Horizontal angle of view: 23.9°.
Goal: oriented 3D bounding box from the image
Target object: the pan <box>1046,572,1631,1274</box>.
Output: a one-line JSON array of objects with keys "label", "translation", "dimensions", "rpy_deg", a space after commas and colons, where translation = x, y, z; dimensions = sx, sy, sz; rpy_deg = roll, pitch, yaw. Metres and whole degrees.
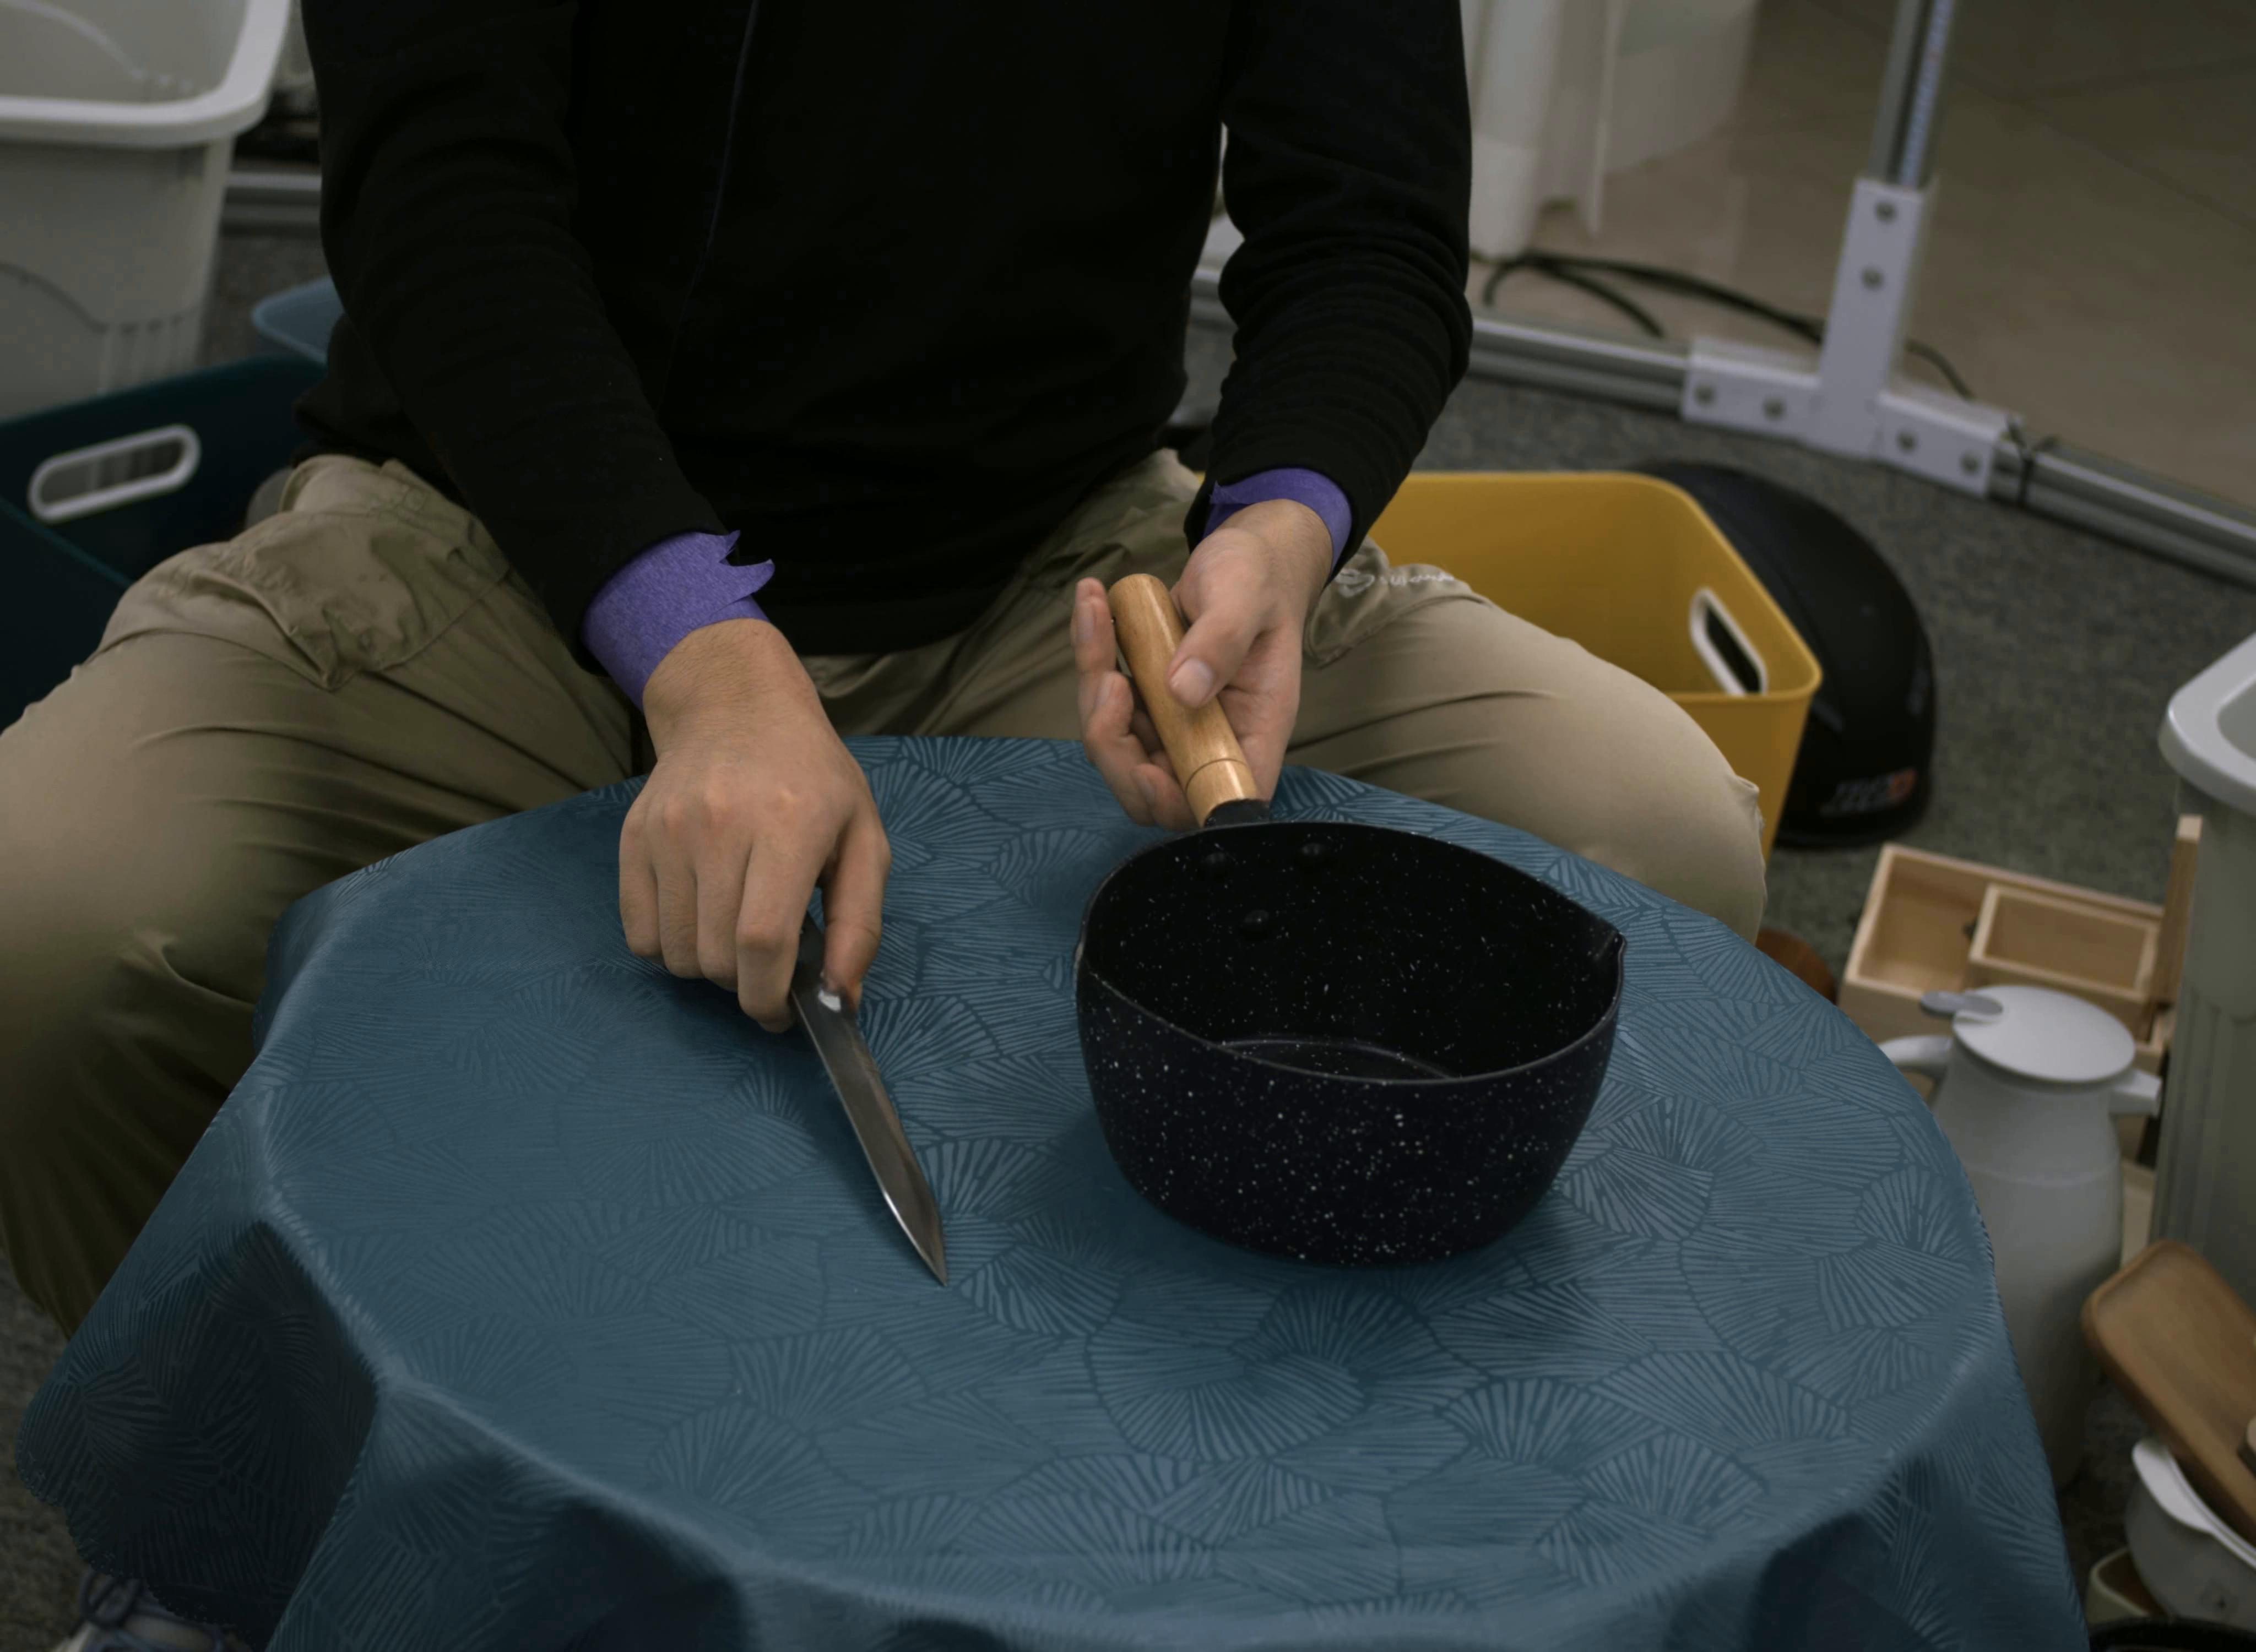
[{"label": "pan", "translation": [0.047, 0.031, 1.882], "dimensions": [0.206, 0.108, 0.346], "rpy_deg": [-4, 30, -19]}]

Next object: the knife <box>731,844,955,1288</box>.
[{"label": "knife", "translation": [-0.098, 0.080, 1.827], "dimensions": [0.024, 0.016, 0.240], "rpy_deg": [19, 27, -34]}]
